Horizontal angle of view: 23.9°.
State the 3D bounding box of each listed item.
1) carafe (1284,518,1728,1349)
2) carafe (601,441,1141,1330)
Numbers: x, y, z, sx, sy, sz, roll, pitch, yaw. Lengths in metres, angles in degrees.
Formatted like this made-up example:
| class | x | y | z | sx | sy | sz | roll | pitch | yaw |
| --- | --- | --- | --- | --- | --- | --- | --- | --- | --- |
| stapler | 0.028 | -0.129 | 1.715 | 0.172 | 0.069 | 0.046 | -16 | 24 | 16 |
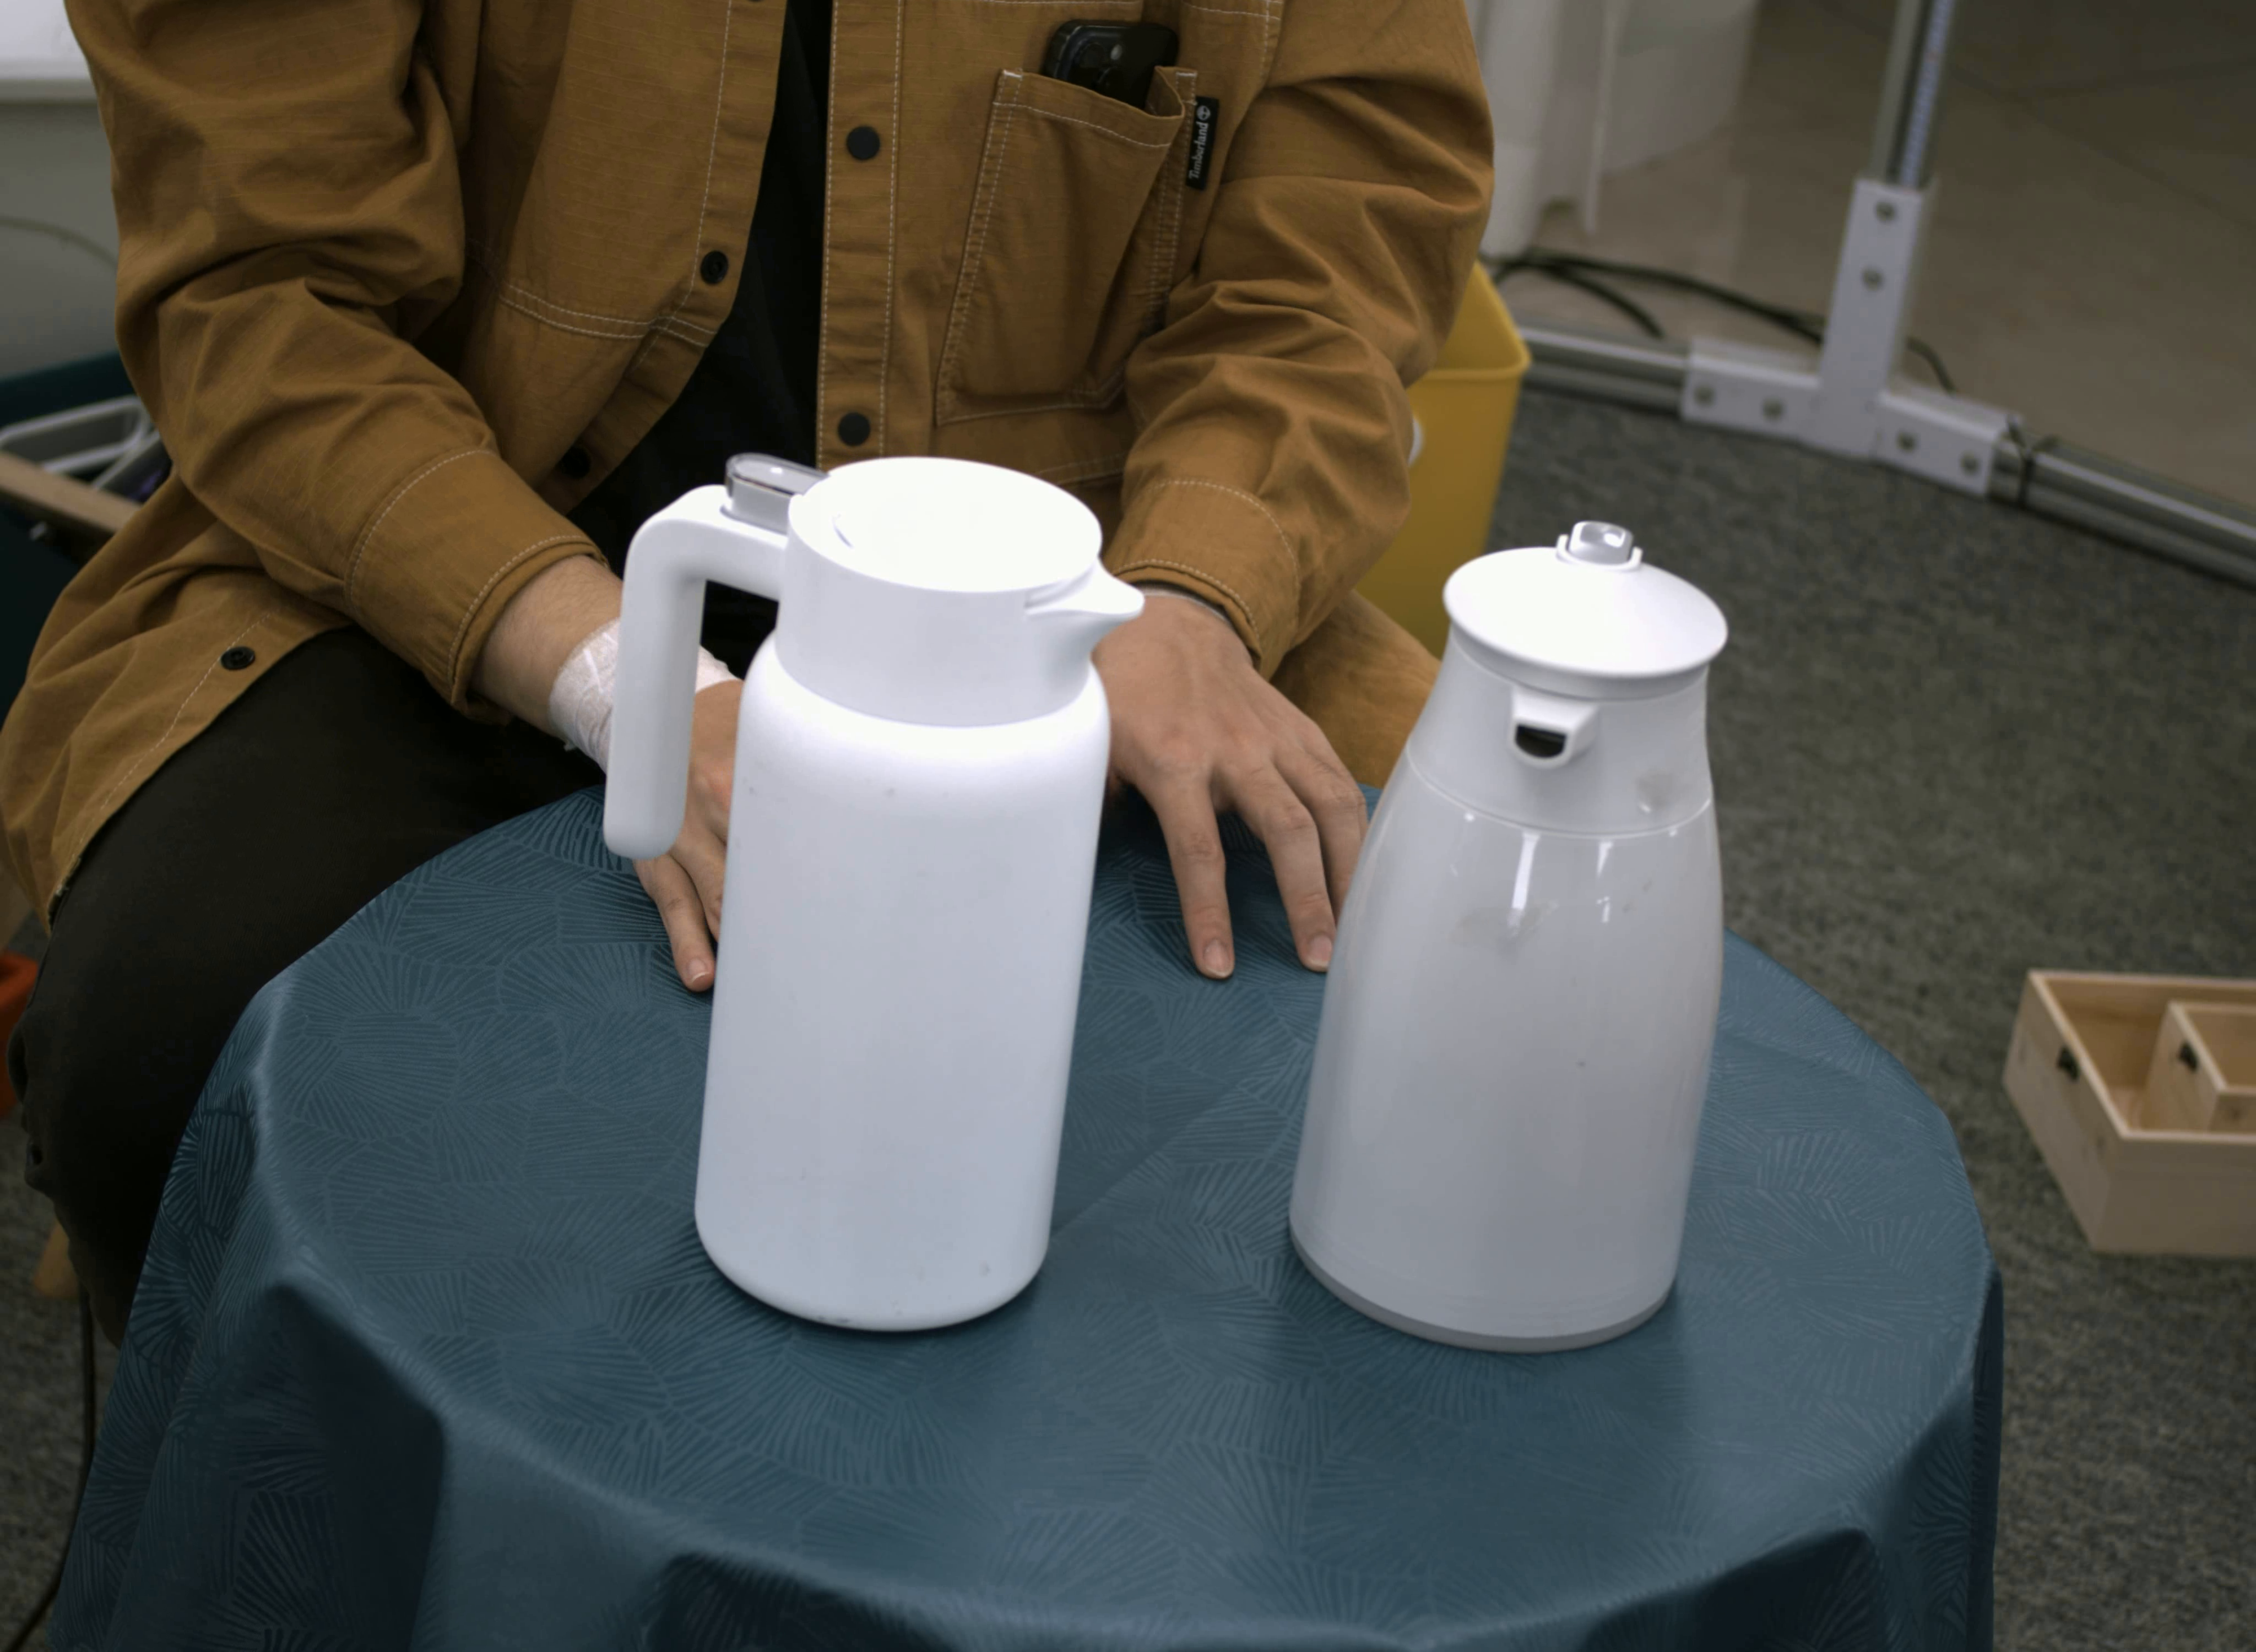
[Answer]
| class | x | y | z | sx | sy | sz | roll | pitch | yaw |
| --- | --- | --- | --- | --- | --- | --- | --- | --- | --- |
| carafe | 0.135 | 0.024 | 1.758 | 0.132 | 0.248 | 0.168 | 12 | 26 | 10 |
| carafe | -0.088 | 0.017 | 1.701 | 0.173 | 0.268 | 0.124 | 17 | 30 | 19 |
